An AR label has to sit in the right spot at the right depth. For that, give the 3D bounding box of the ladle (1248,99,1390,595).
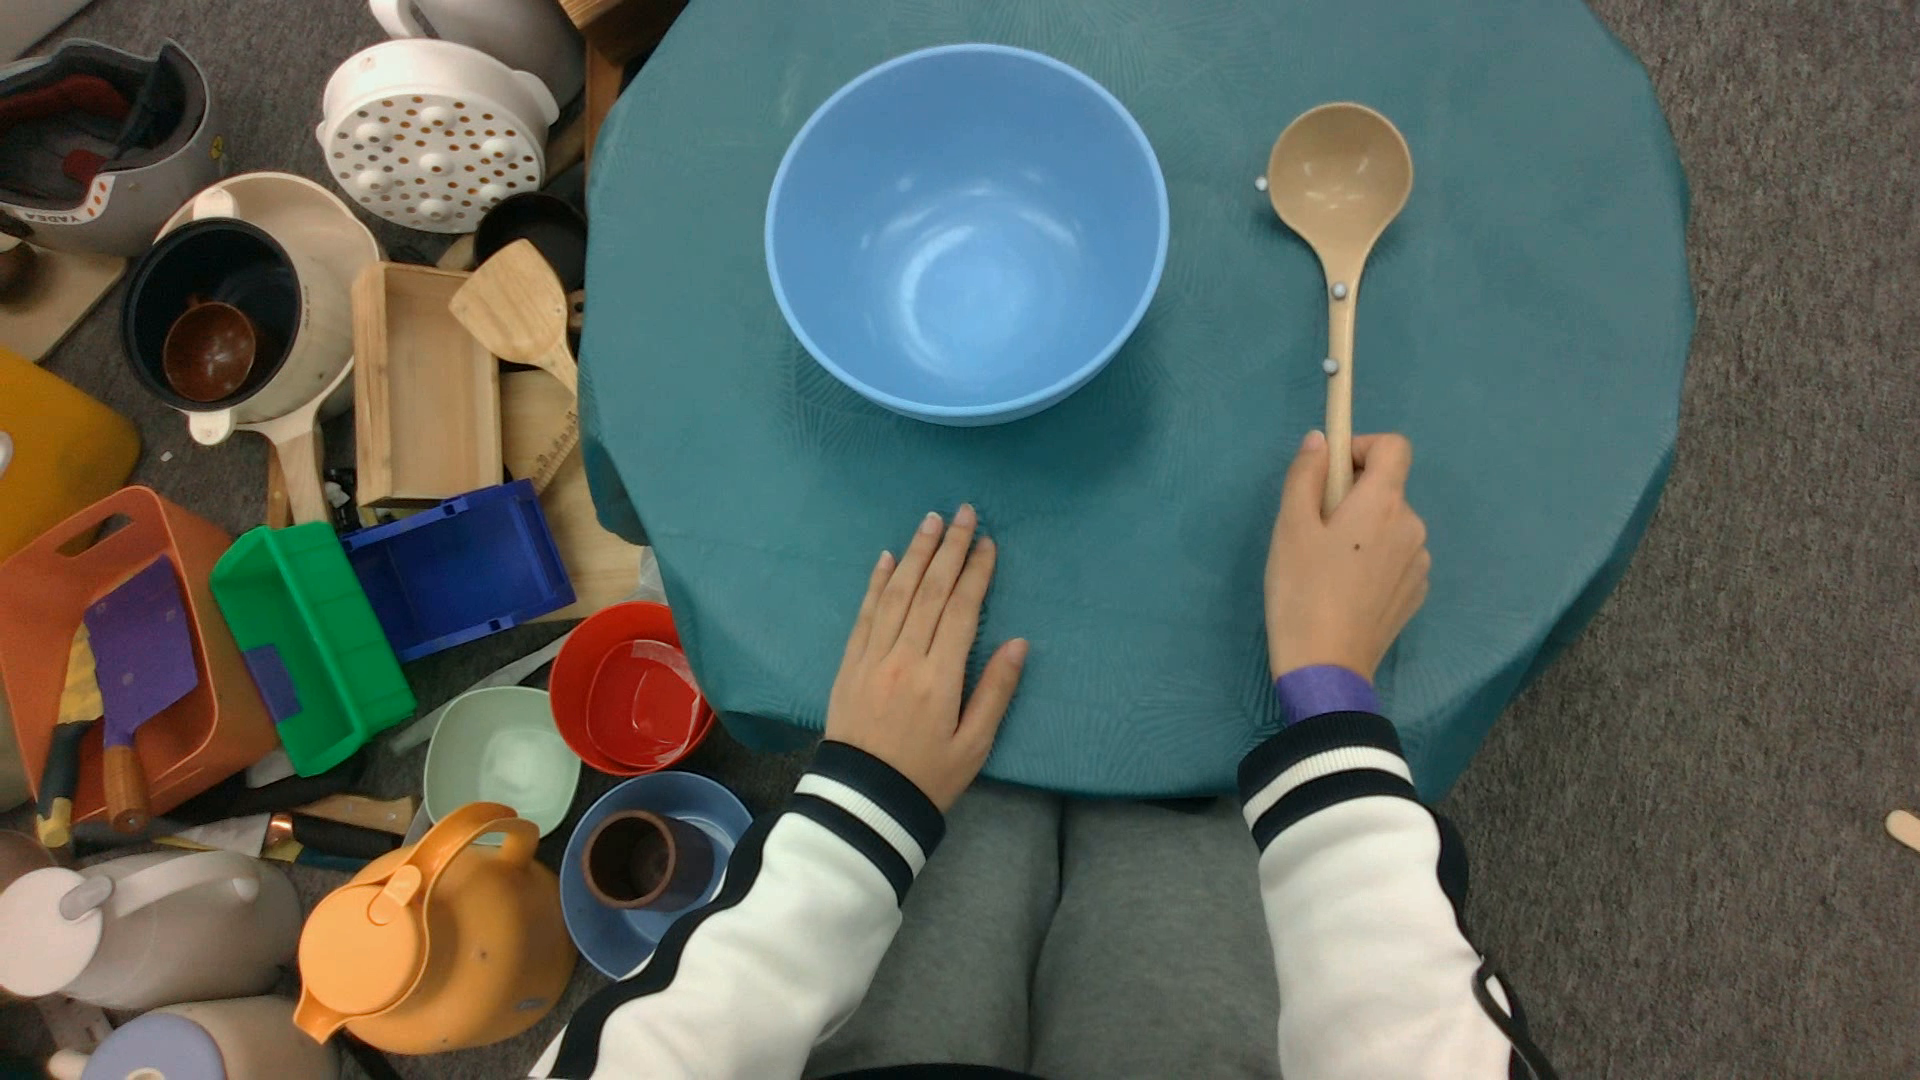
[{"bbox_3d":[0.178,-0.104,0.680,0.072,0.072,0.255,-3,64,19],"label":"ladle"}]

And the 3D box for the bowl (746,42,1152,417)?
[{"bbox_3d":[-0.003,-0.144,0.707,0.196,0.095,0.197,-1,73,3],"label":"bowl"}]
